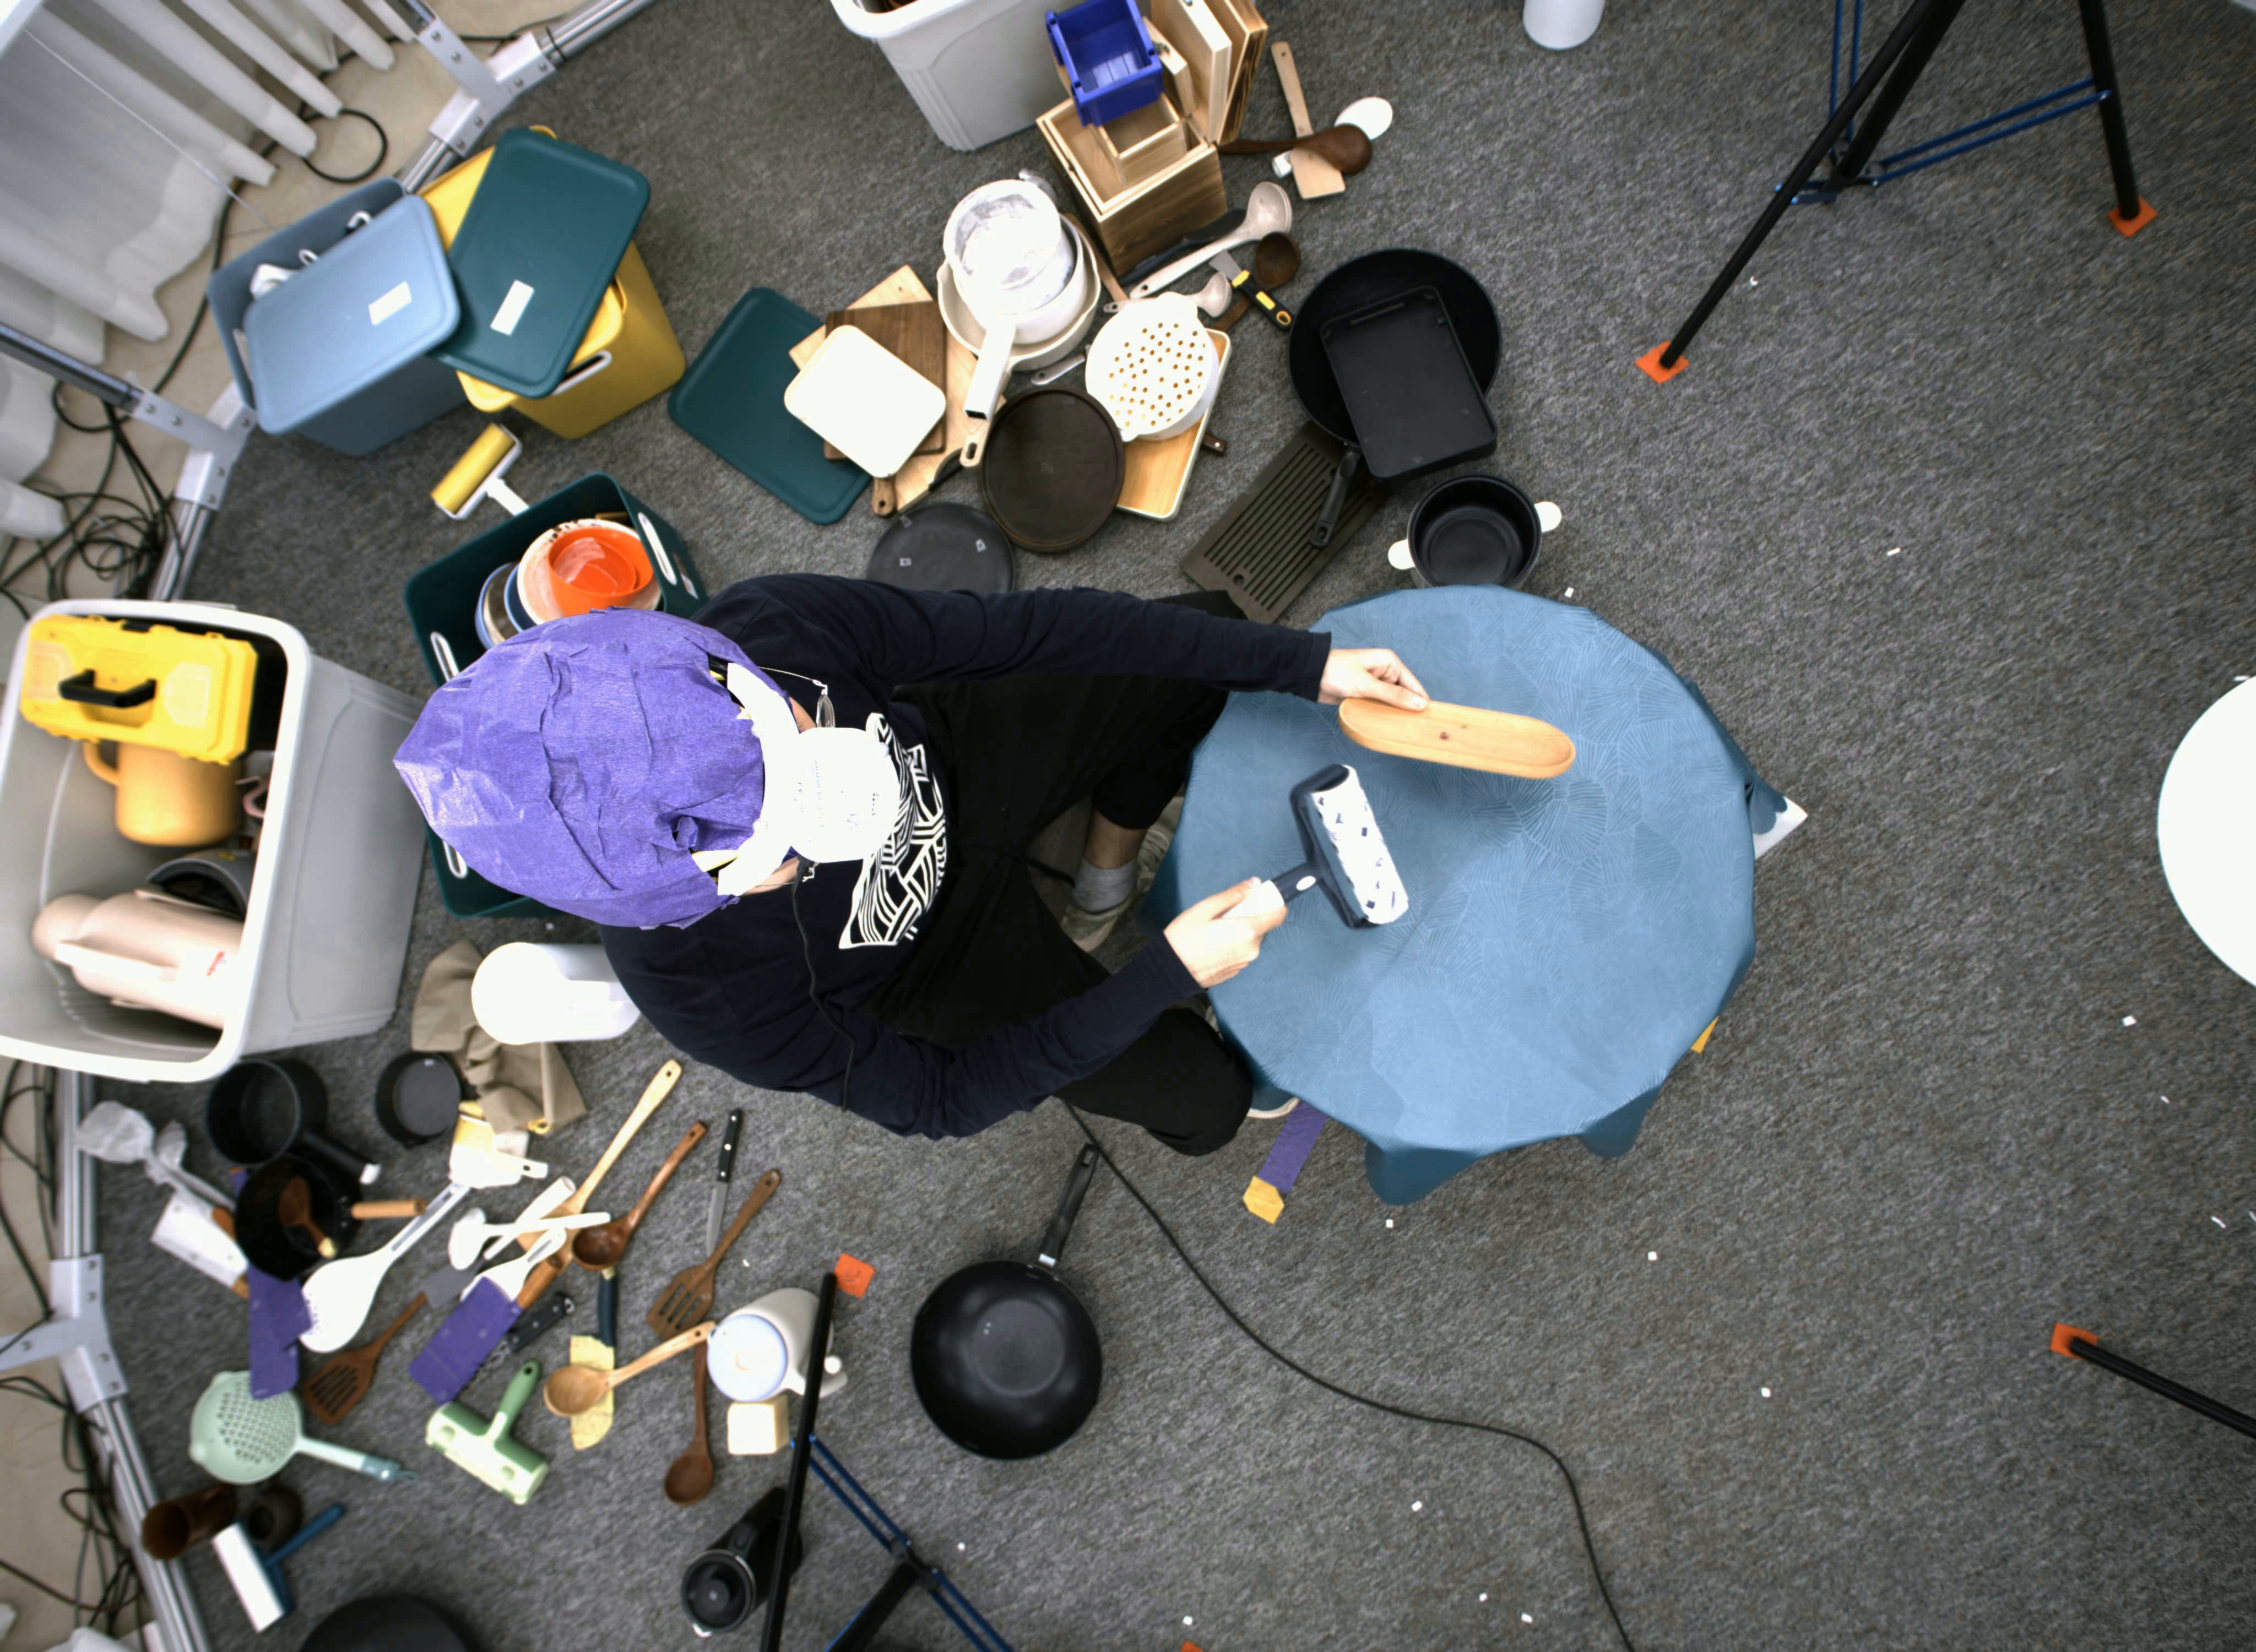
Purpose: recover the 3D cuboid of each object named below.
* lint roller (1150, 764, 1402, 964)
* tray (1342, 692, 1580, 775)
[{"bbox_3d":[0.134,0.069,1.334,0.247,0.049,0.179,-31,119,-2],"label":"lint roller"},{"bbox_3d":[0.322,-0.092,1.334,0.231,0.099,0.021,10,126,4],"label":"tray"}]
